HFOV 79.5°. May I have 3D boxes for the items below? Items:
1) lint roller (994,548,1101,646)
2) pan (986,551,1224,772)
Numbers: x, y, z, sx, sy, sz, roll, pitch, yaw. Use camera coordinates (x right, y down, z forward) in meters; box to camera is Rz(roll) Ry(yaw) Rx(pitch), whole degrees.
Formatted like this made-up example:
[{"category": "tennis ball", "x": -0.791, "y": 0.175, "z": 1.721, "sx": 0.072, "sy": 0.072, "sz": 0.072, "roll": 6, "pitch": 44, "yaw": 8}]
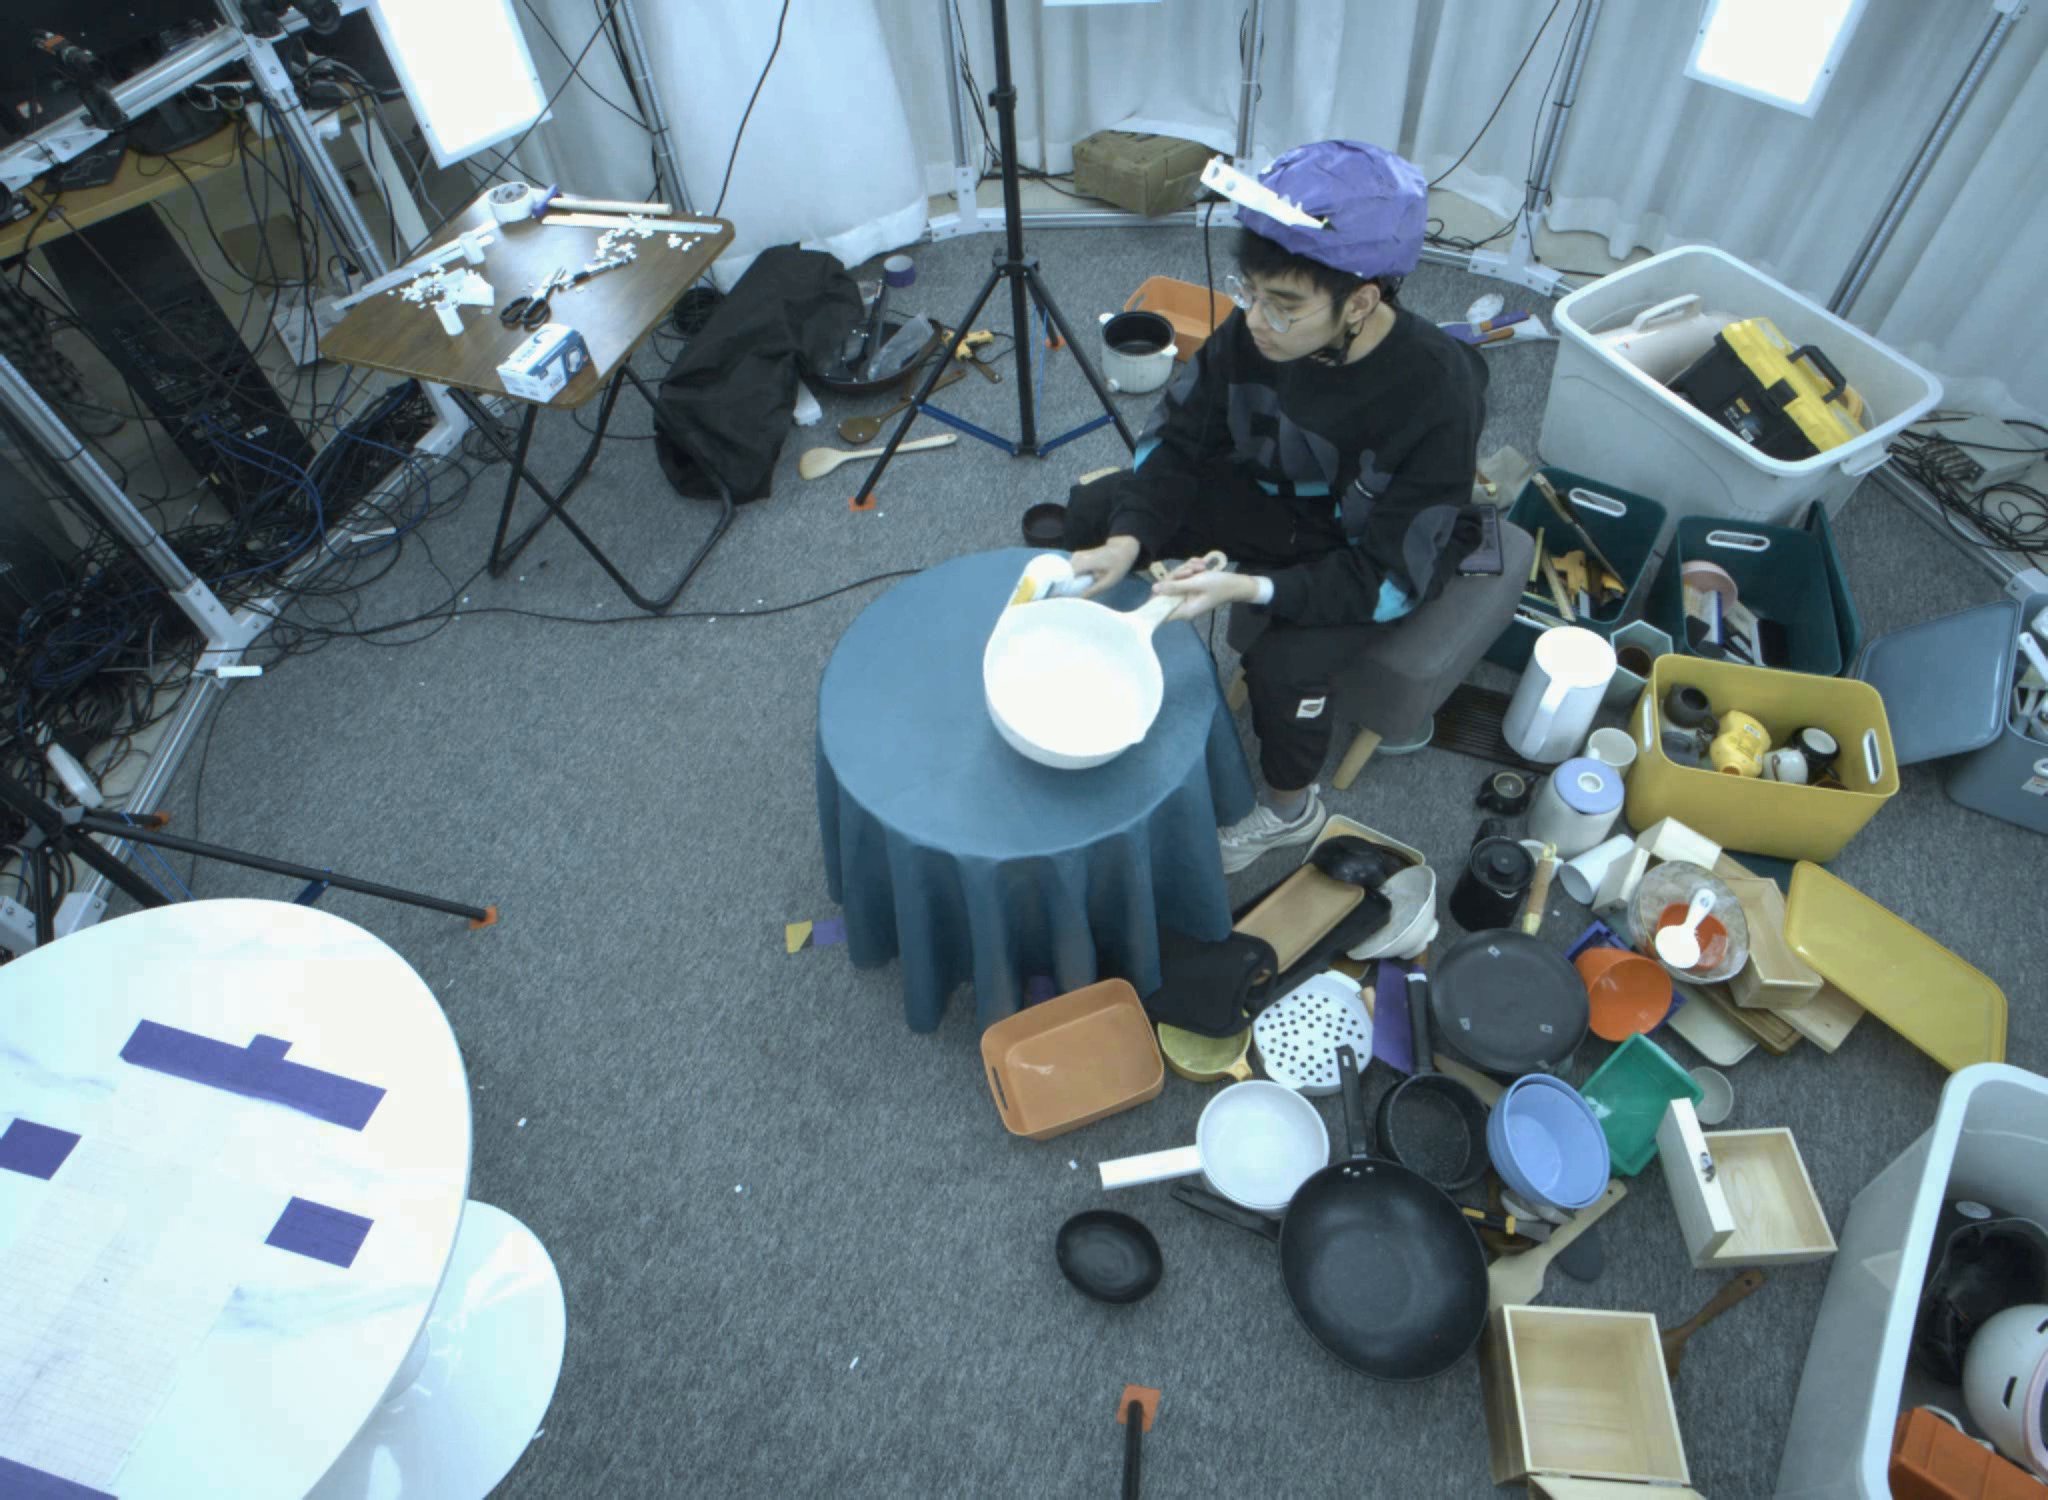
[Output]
[{"category": "lint roller", "x": 0.053, "y": -0.231, "z": 1.819, "sx": 0.195, "sy": 0.192, "sz": 0.073, "roll": -19, "pitch": 60, "yaw": -41}, {"category": "pan", "x": 0.131, "y": -0.138, "z": 1.750, "sx": 0.261, "sy": 0.102, "sz": 0.438, "roll": 44, "pitch": 63, "yaw": 12}]
